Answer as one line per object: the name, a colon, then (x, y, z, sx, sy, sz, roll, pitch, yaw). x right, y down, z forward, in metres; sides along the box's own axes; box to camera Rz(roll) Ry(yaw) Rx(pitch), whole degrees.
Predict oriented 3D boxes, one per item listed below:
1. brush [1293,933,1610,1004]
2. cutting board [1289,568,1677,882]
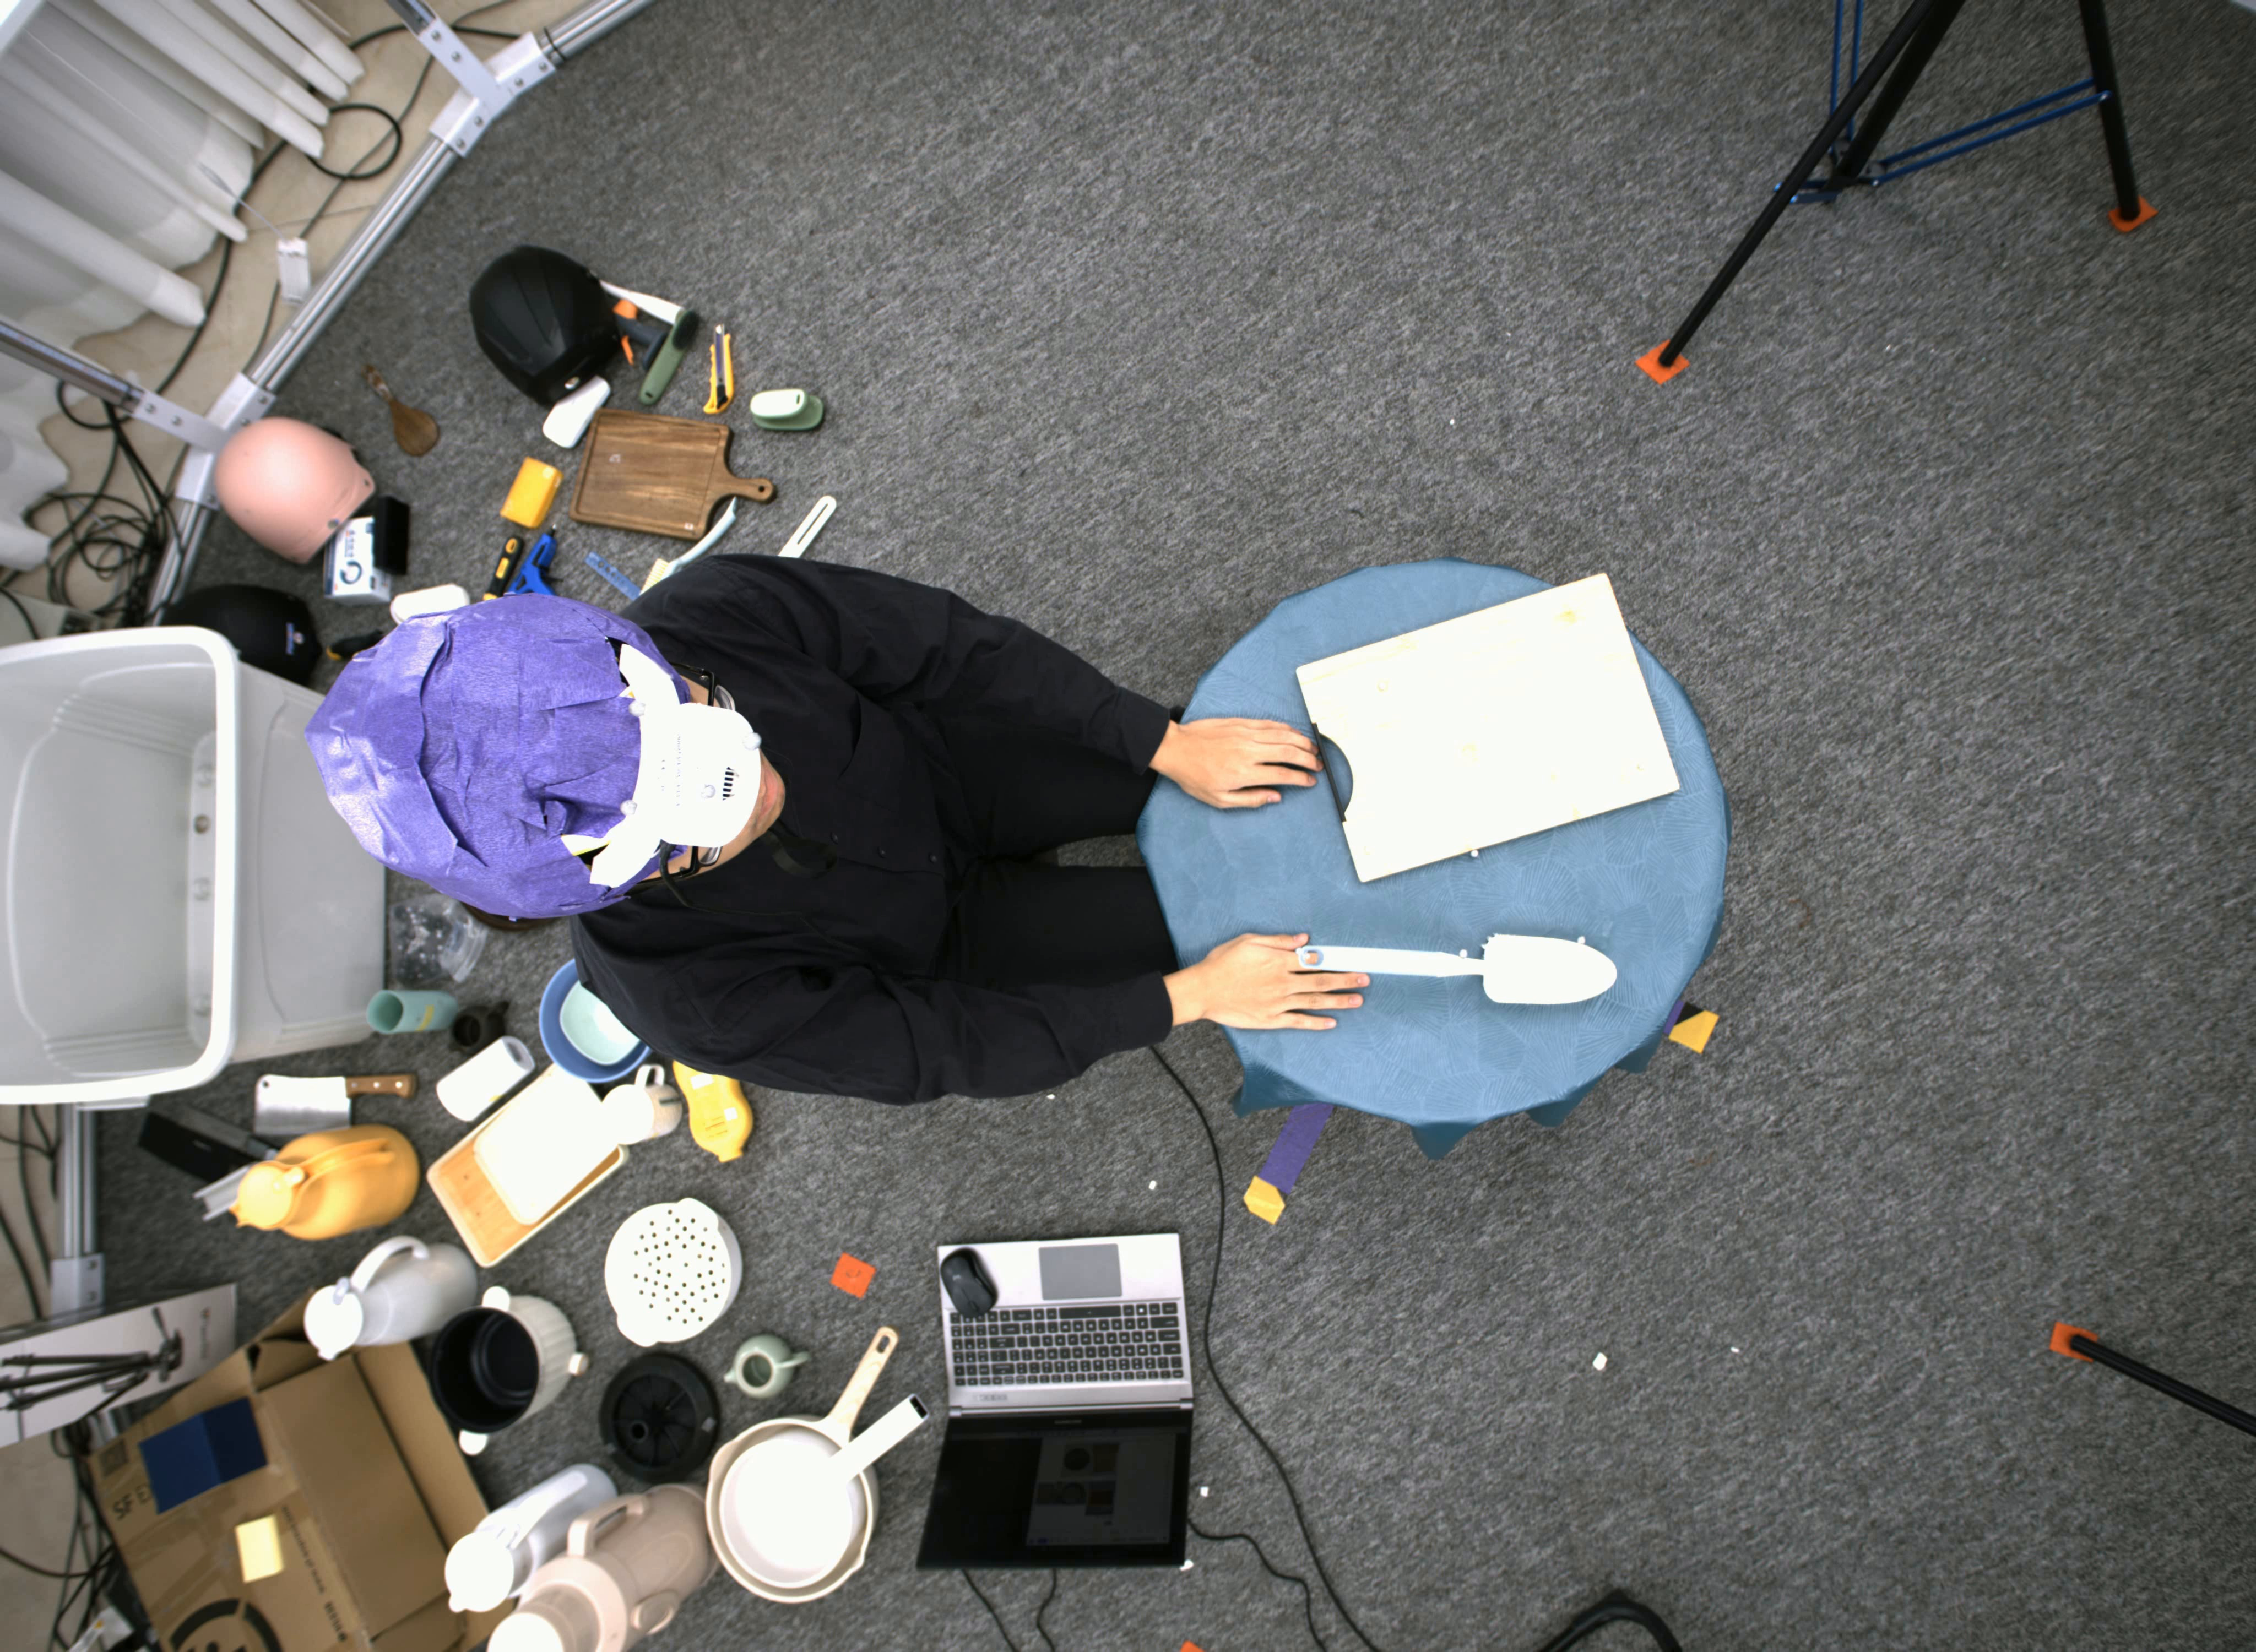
brush: (0.324, 0.135, 1.403, 0.326, 0.087, 0.081, 3, 49, -1)
cutting board: (0.372, -0.107, 1.440, 0.350, 0.023, 0.249, -19, 83, 8)
